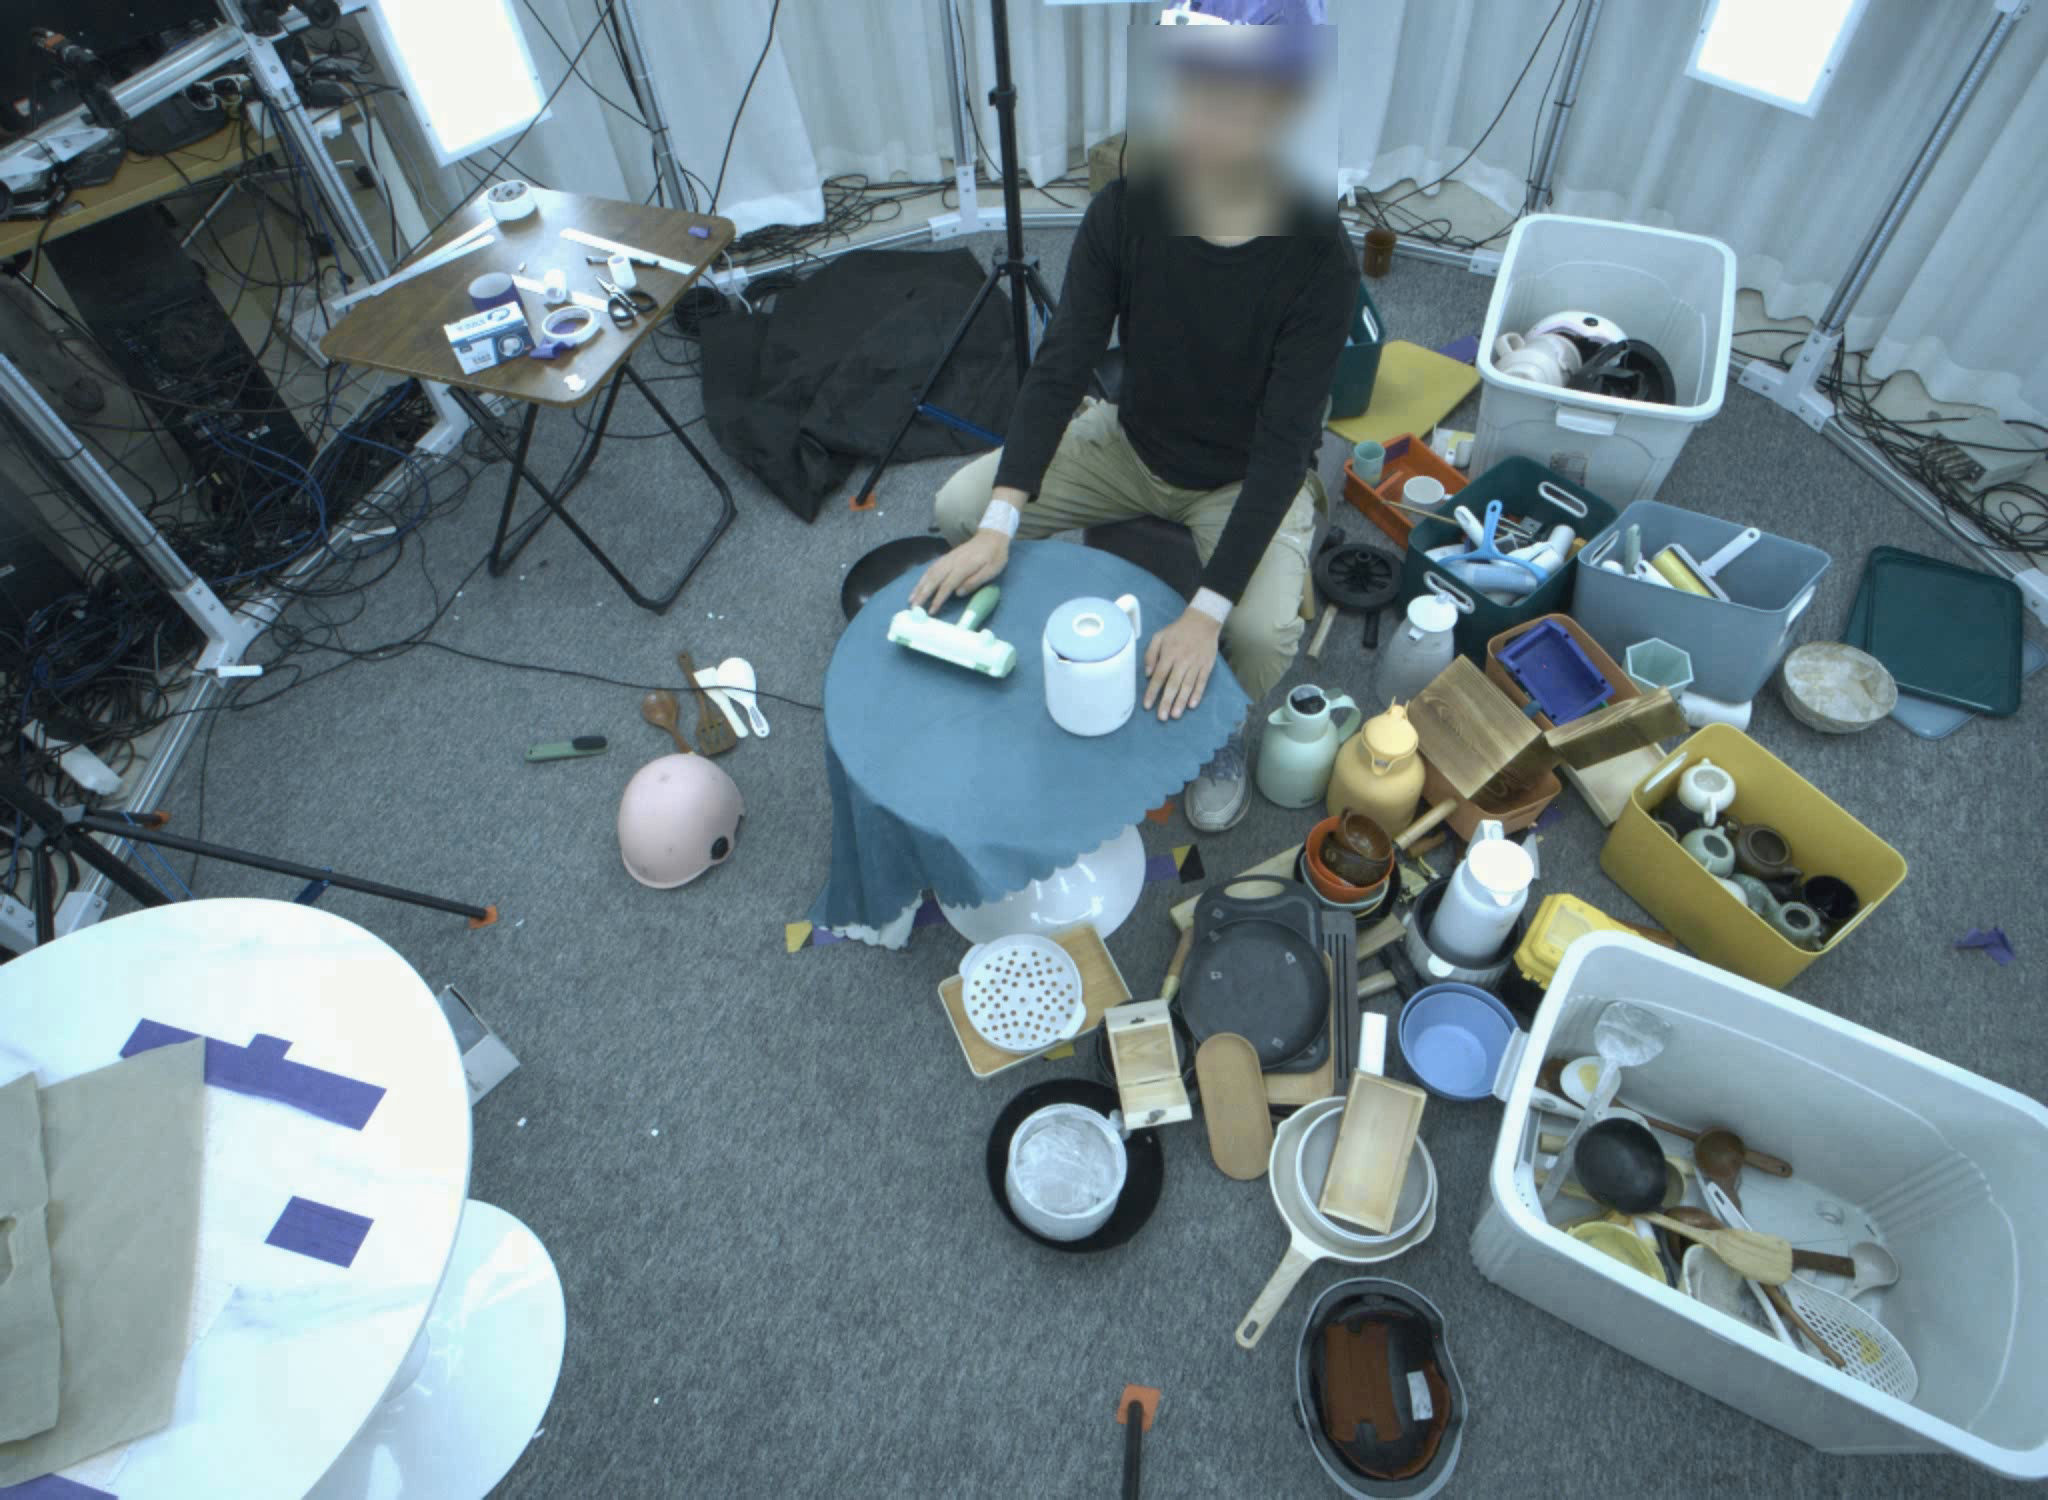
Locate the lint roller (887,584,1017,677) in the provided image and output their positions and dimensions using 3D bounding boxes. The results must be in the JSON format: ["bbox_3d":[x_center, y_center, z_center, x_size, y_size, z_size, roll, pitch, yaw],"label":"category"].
[{"bbox_3d":[-0.087,-0.209,1.891,0.196,0.083,0.183,20,60,14],"label":"lint roller"}]

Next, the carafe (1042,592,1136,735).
[{"bbox_3d":[0.107,-0.136,1.775,0.130,0.184,0.192,29,59,21],"label":"carafe"}]
